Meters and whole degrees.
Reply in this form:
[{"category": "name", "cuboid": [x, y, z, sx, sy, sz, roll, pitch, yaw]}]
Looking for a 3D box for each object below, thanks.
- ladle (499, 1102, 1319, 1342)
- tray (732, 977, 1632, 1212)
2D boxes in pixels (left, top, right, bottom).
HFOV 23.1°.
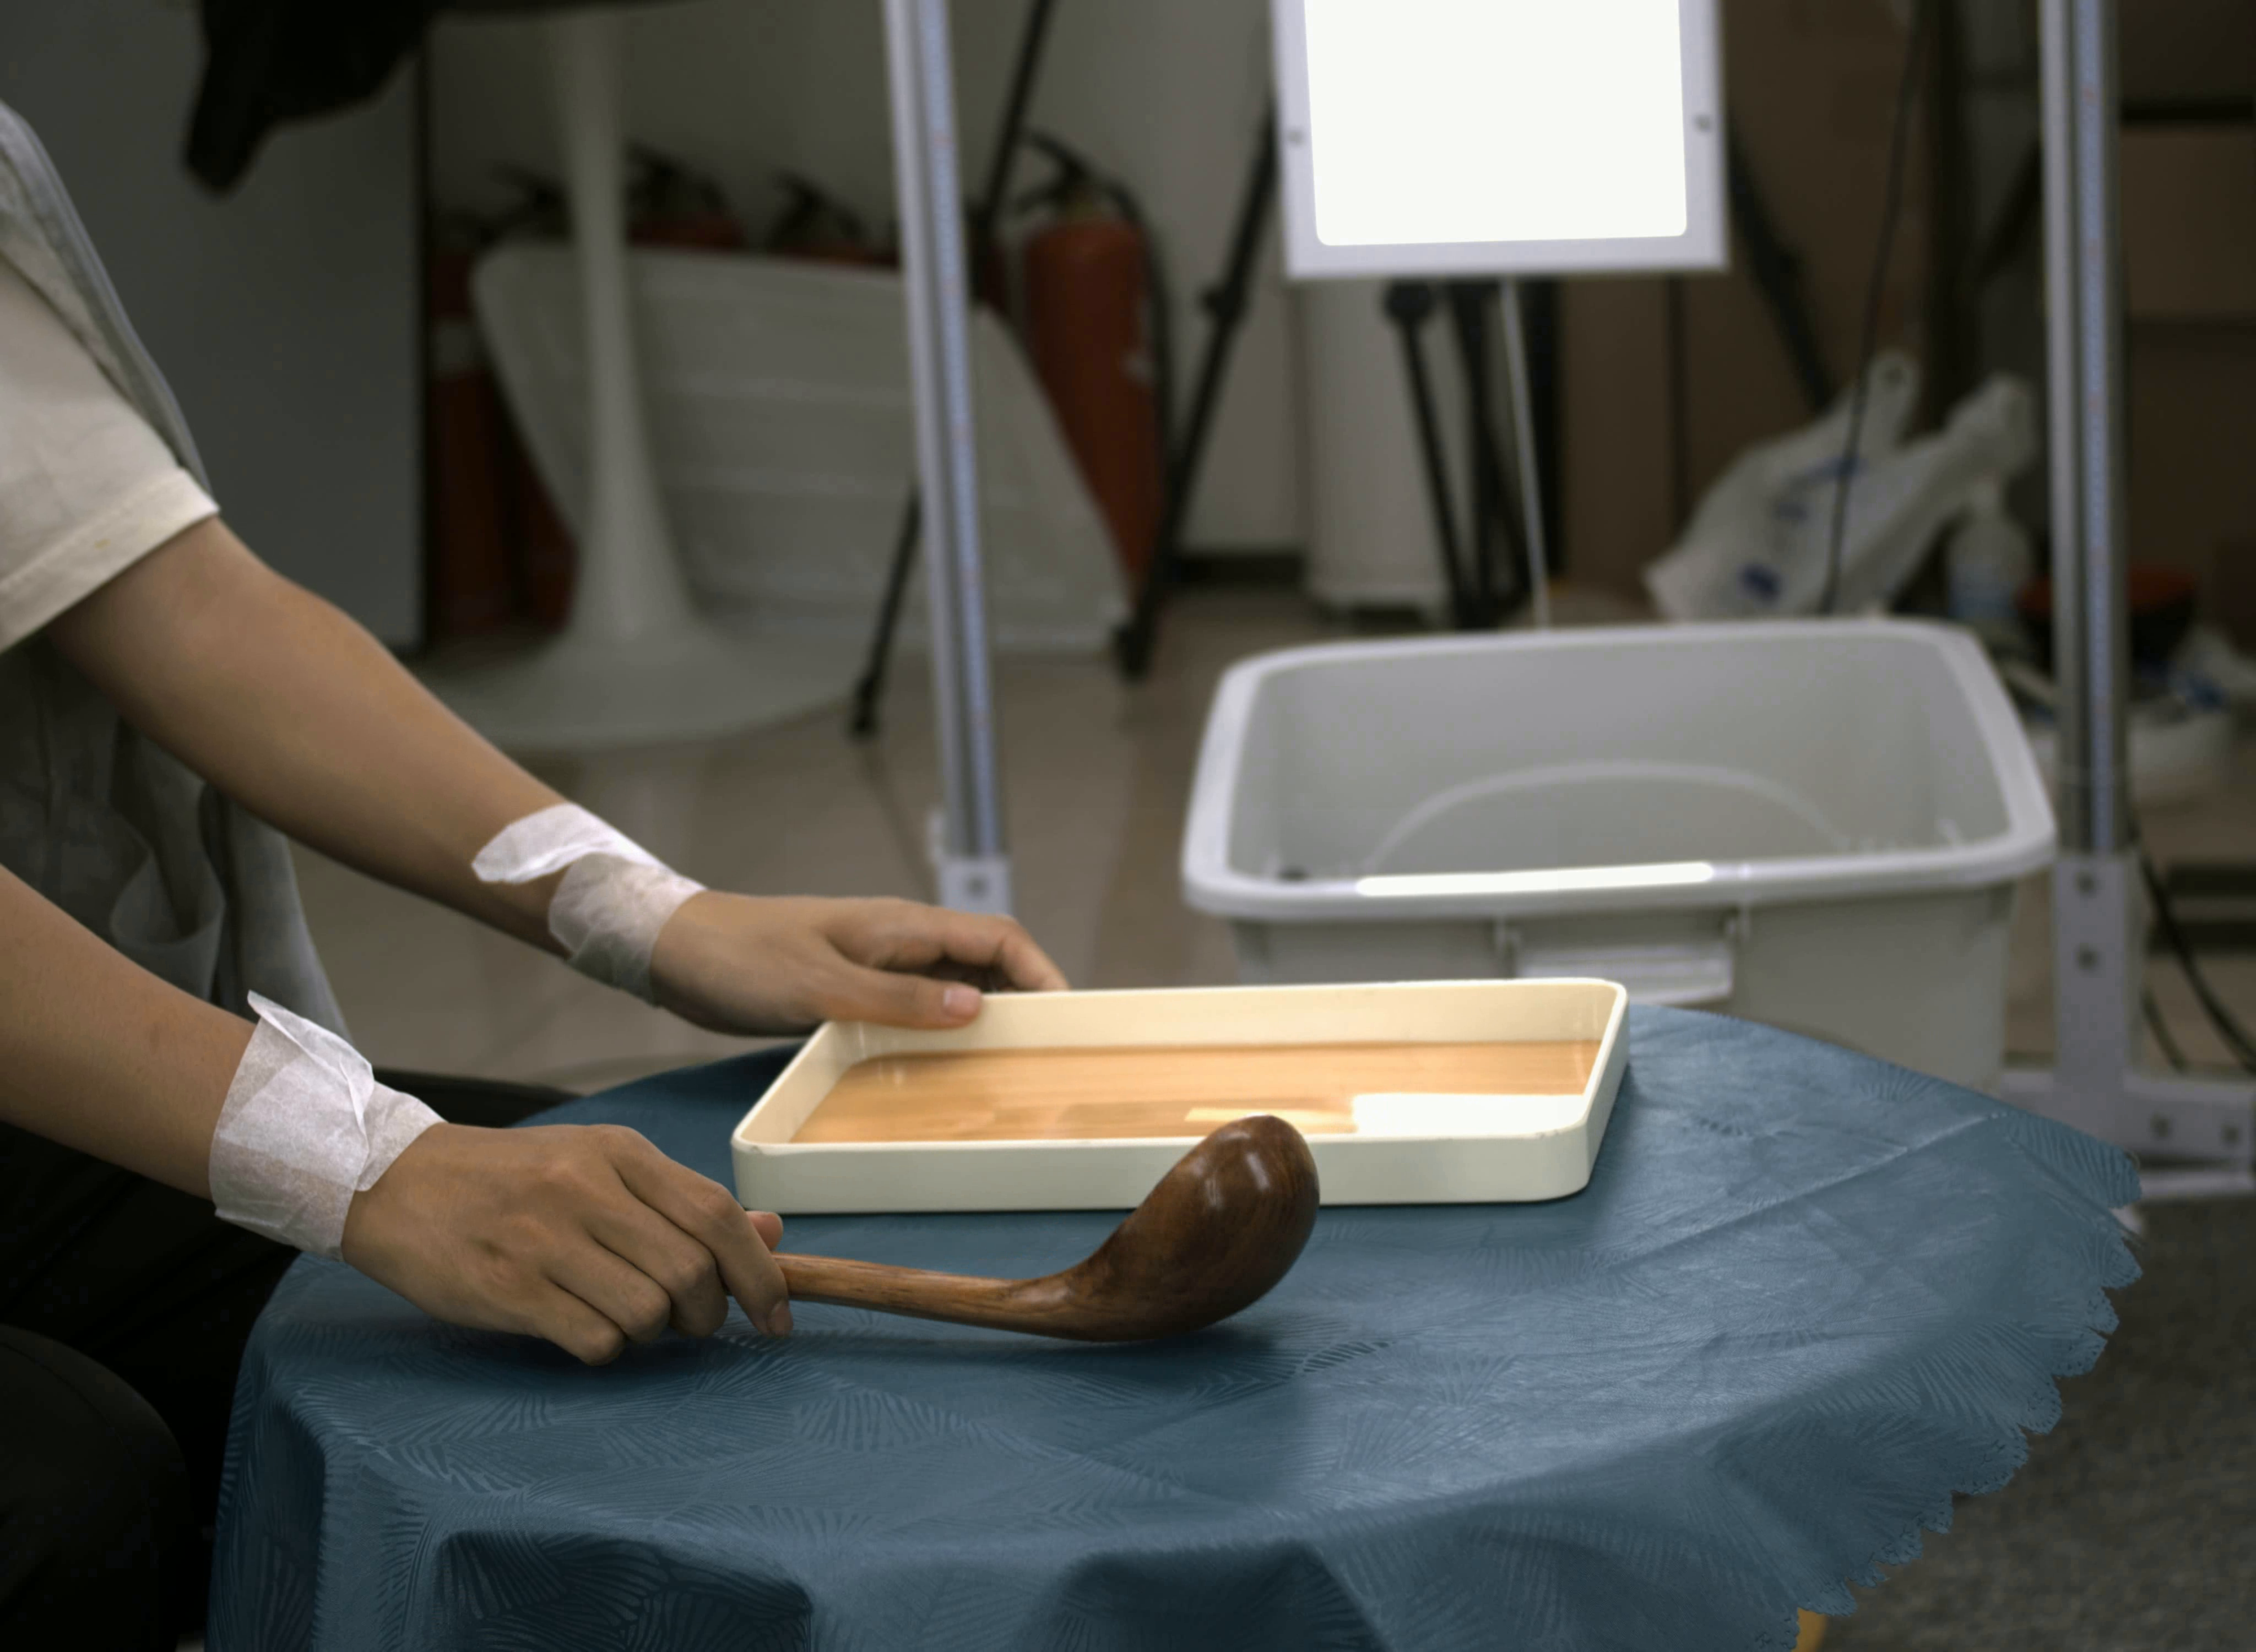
[{"category": "ladle", "cuboid": [-0.072, 0.124, 1.773, 0.278, 0.076, 0.081, 1, -28, 23]}, {"category": "tray", "cuboid": [0.024, 0.095, 1.960, 0.303, 0.027, 0.189, -2, 14, 13]}]
